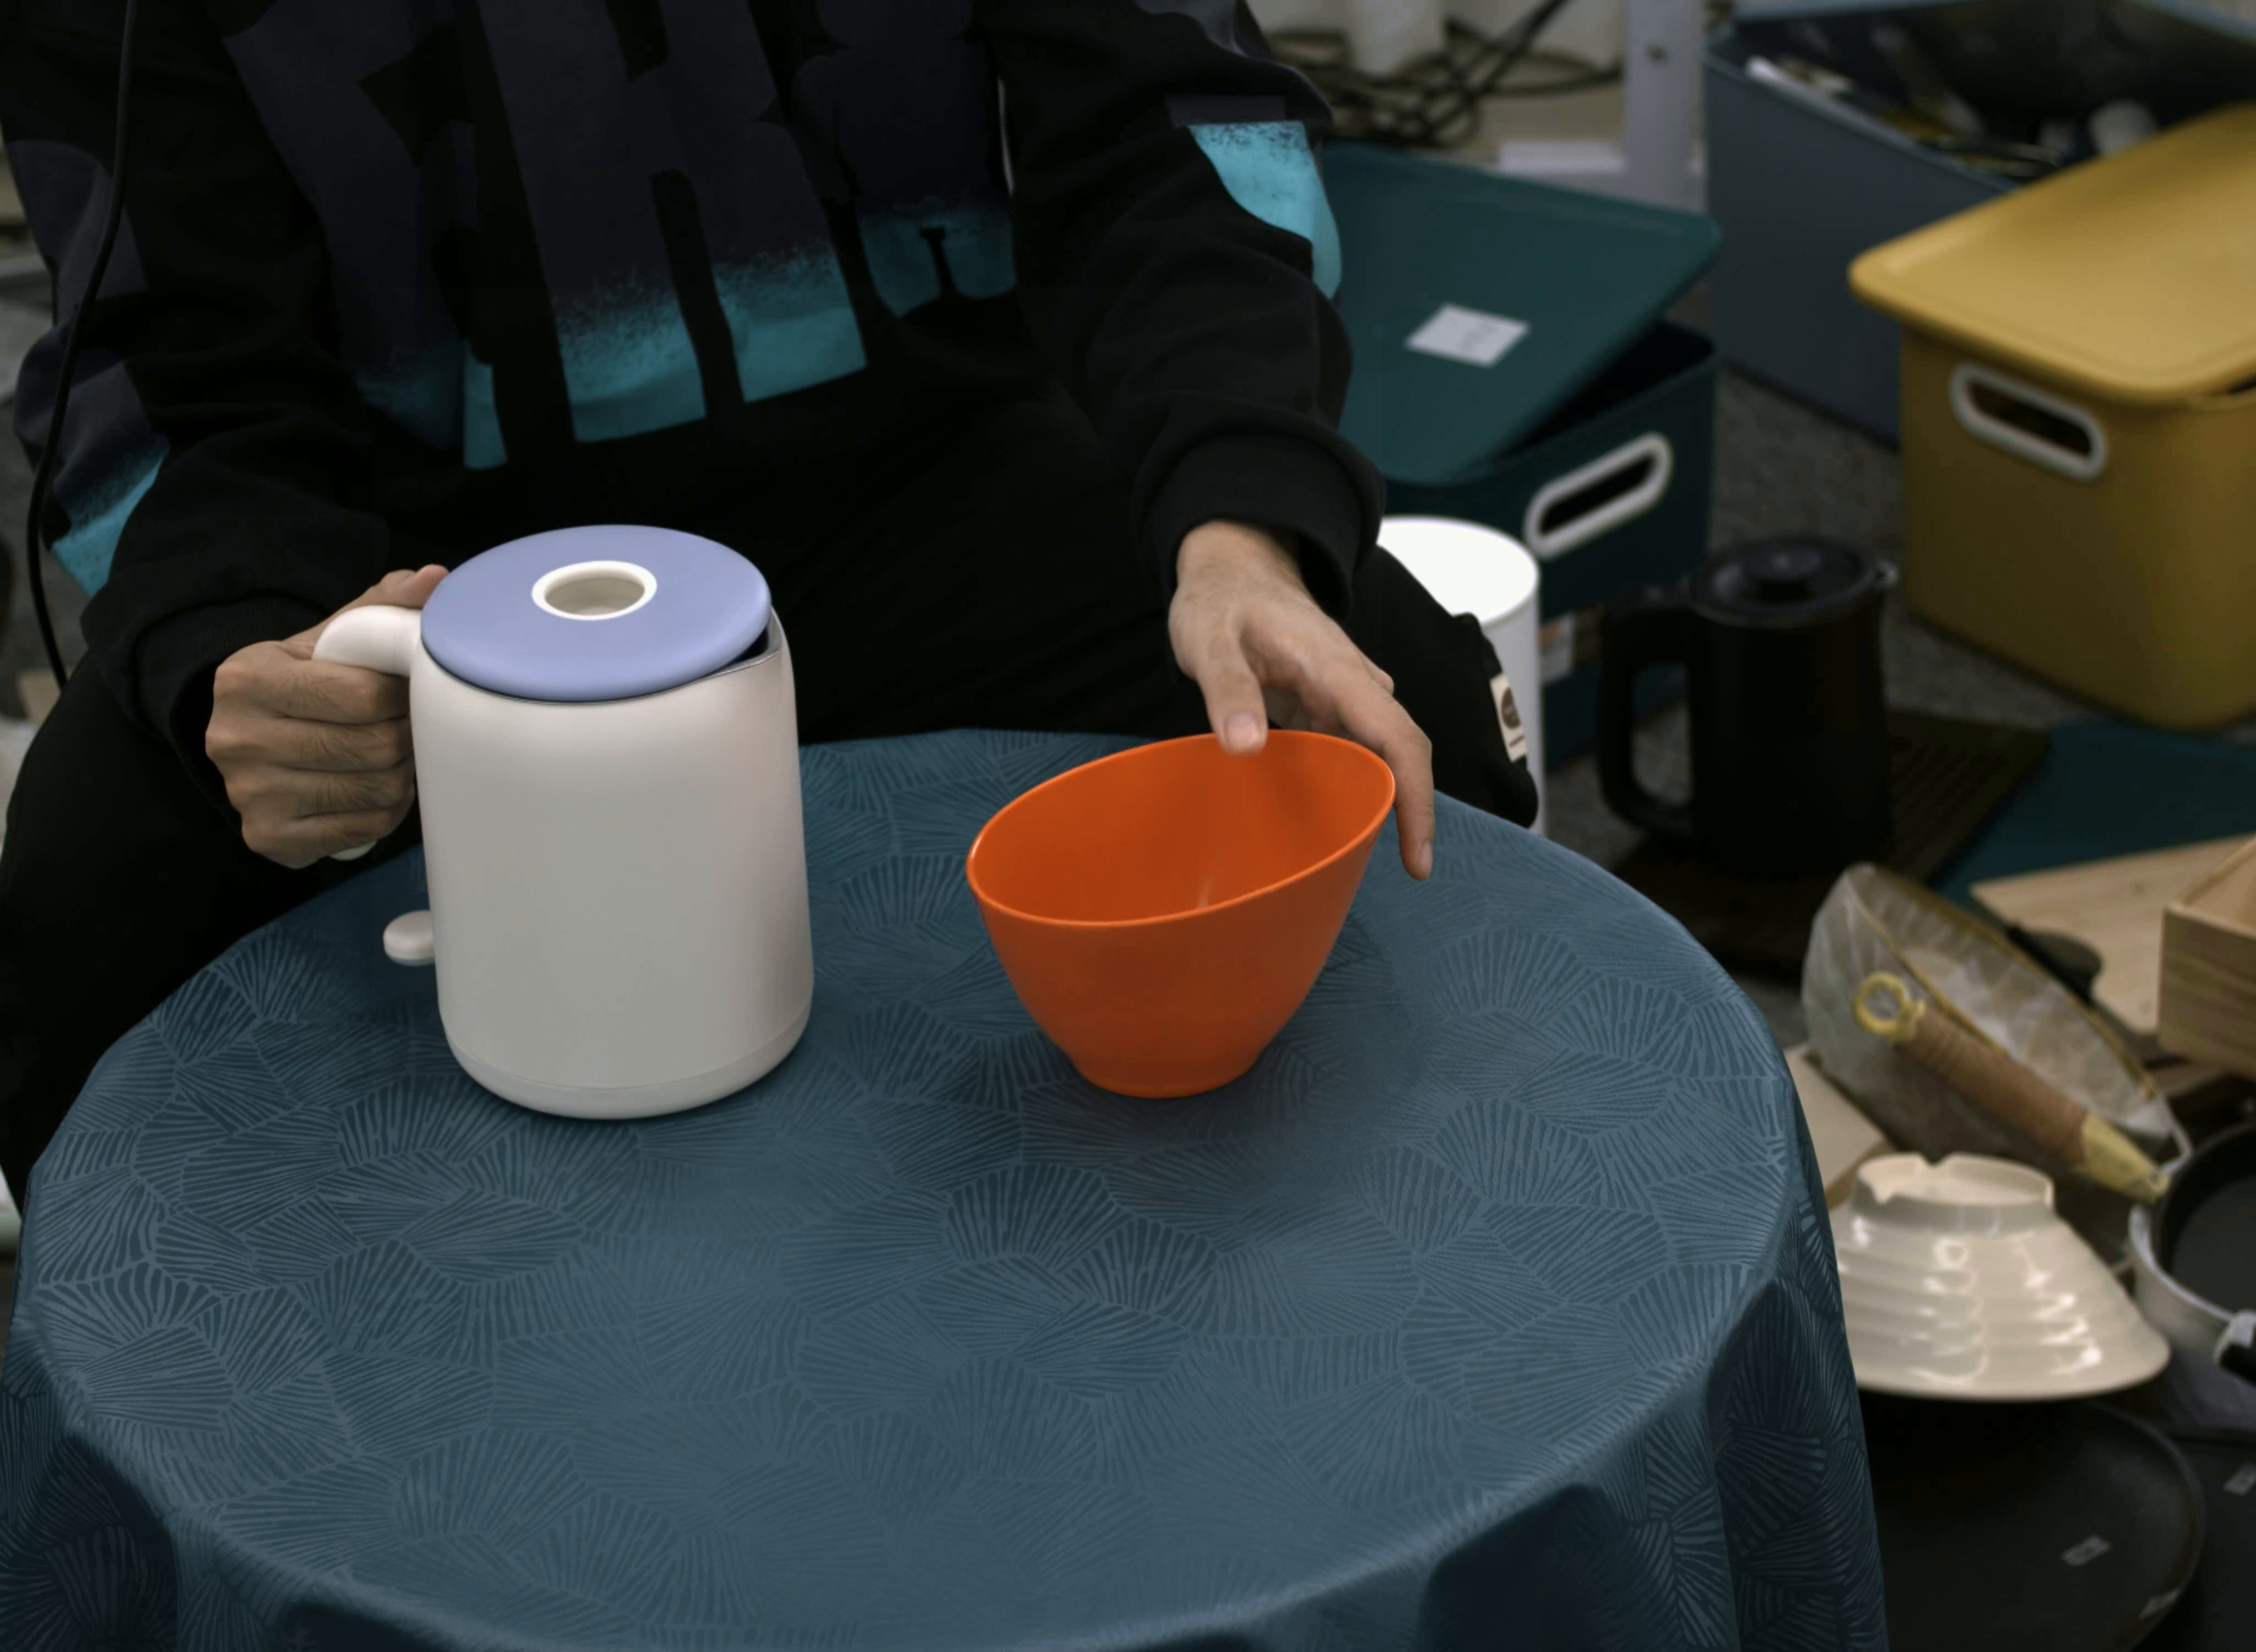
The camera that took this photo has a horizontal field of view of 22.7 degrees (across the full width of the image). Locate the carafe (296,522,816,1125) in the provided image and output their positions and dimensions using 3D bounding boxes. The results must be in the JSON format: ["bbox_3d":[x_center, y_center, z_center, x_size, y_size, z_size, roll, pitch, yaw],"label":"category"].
[{"bbox_3d":[-0.199,-0.004,1.934,0.190,0.180,0.134,7,28,20],"label":"carafe"}]

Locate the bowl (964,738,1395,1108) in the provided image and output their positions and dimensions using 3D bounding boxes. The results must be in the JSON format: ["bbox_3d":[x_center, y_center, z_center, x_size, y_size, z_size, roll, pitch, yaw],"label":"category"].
[{"bbox_3d":[0.019,0.038,1.913,0.147,0.103,0.150,-2,27,1],"label":"bowl"}]
